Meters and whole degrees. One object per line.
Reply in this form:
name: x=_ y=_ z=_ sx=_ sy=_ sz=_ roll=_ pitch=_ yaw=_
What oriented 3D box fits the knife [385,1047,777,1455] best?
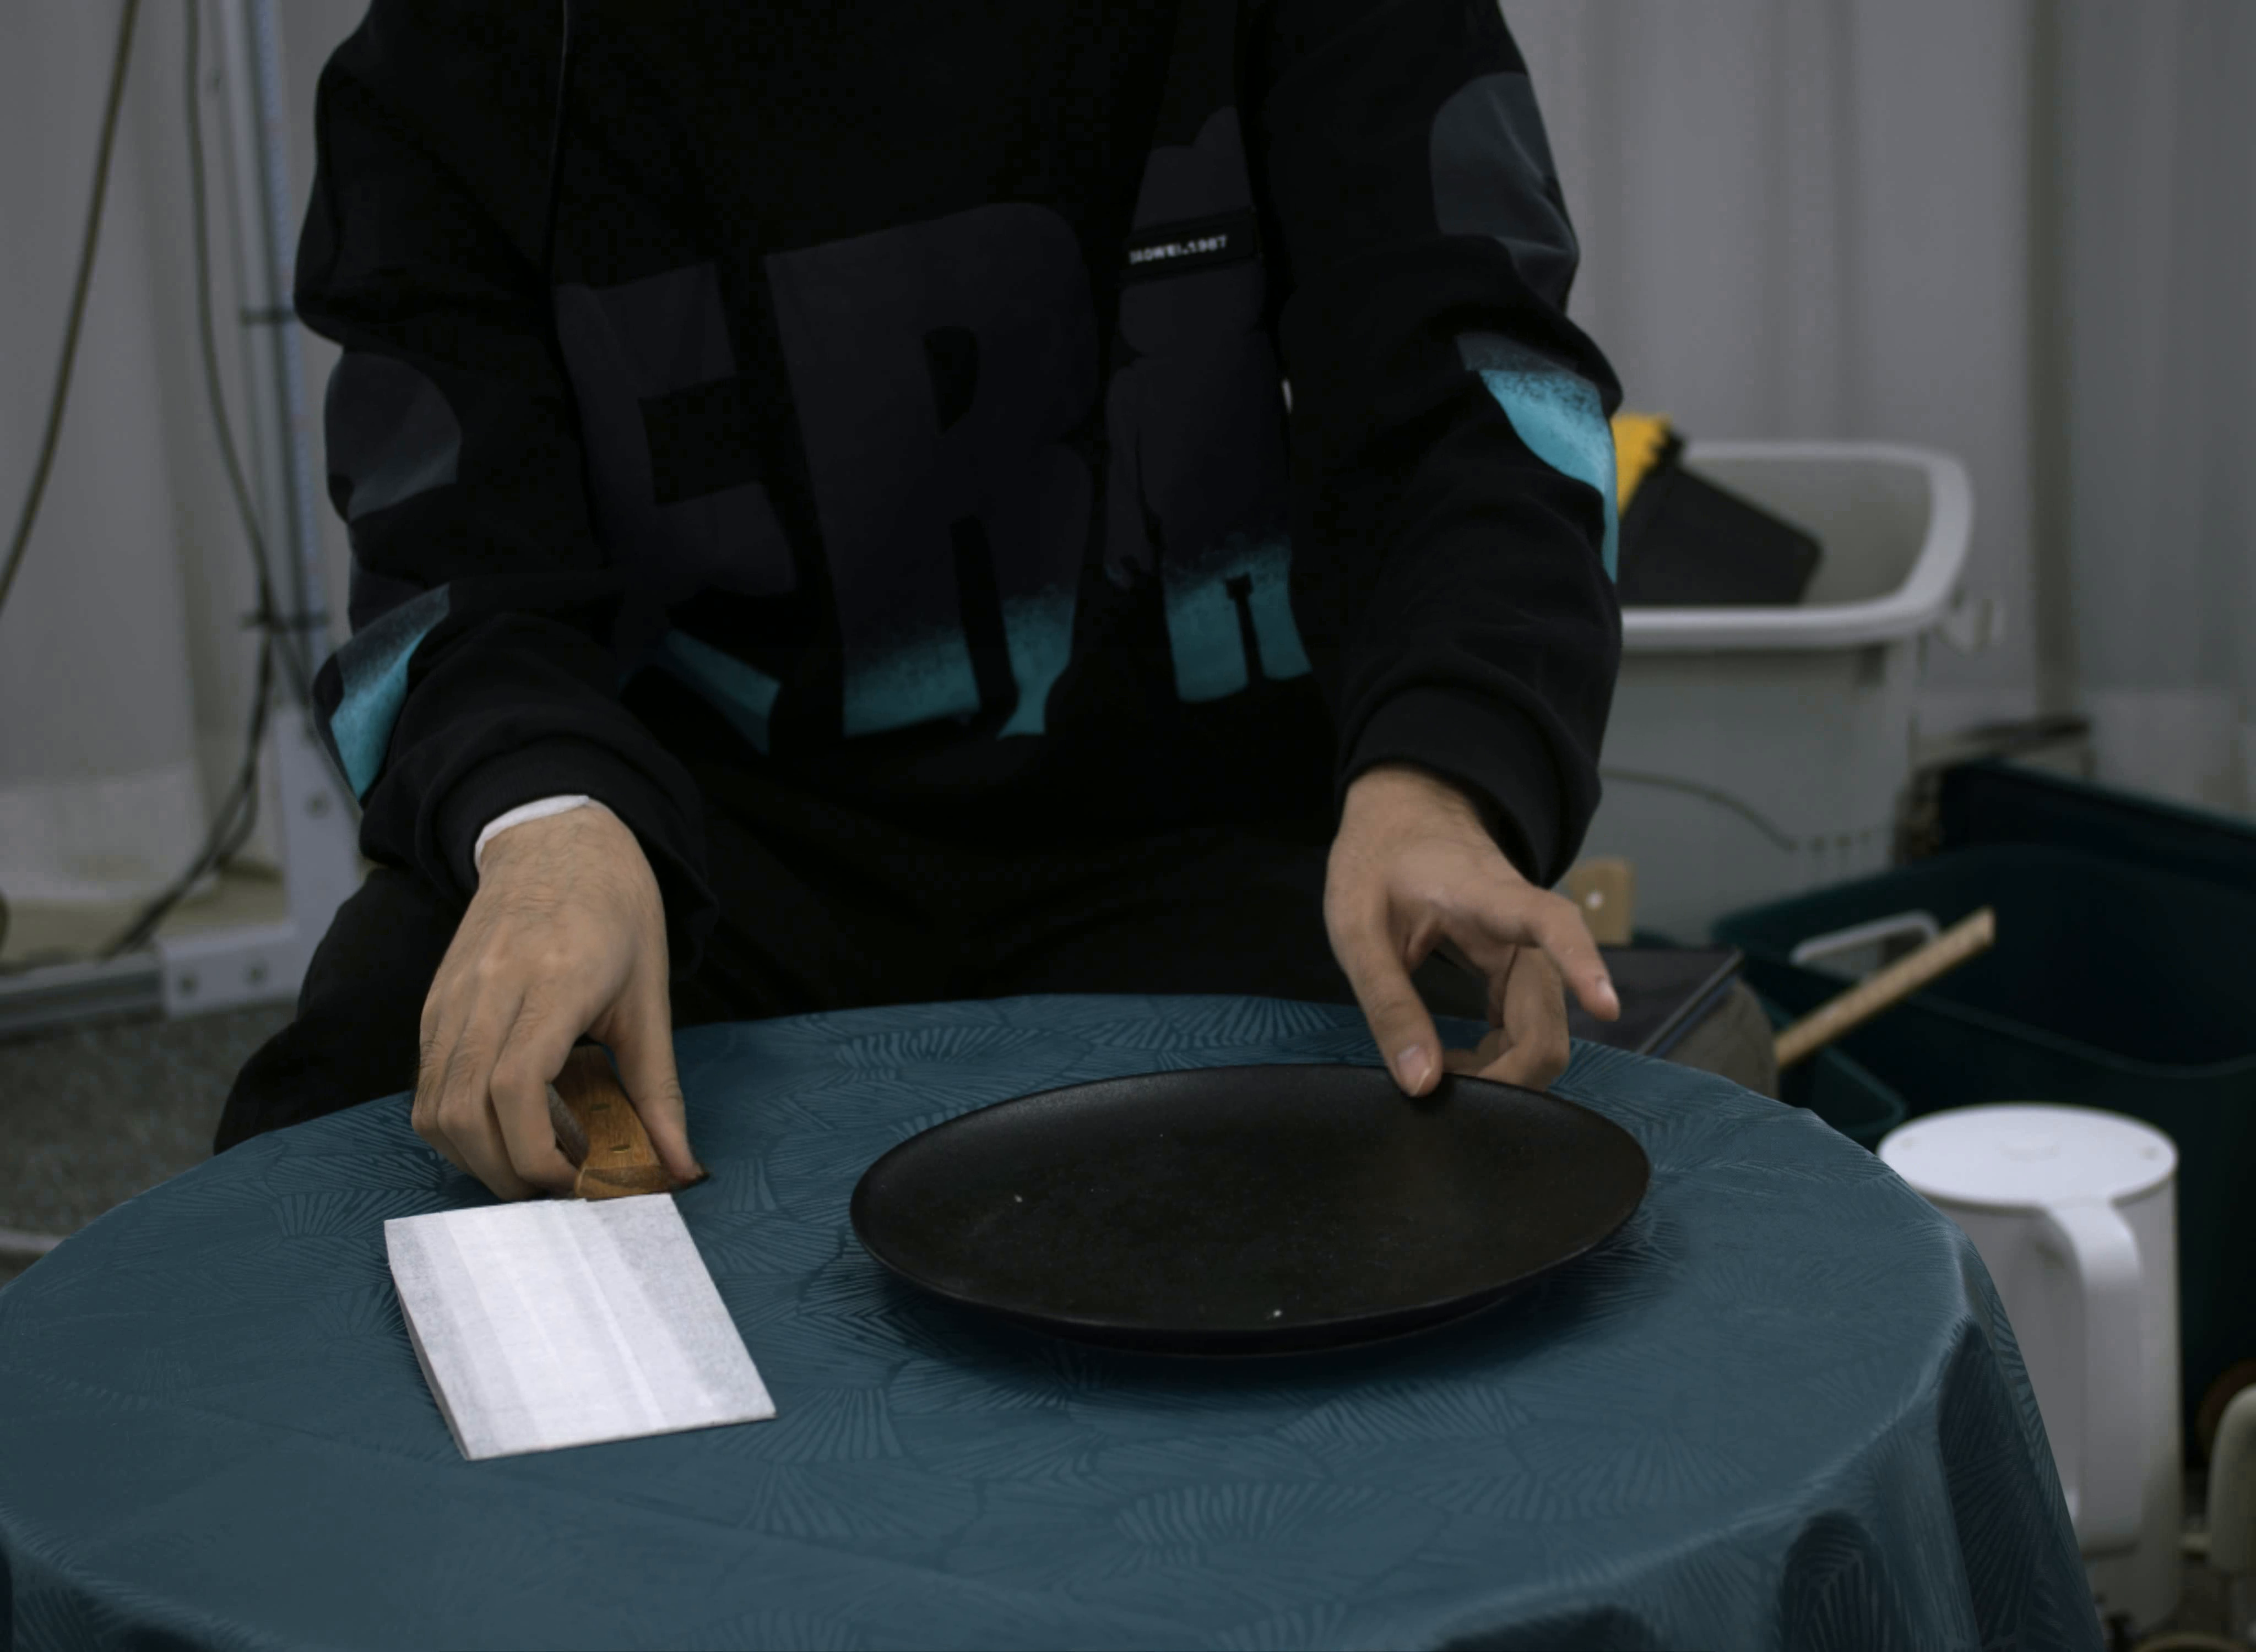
knife: x=-0.177 y=0.128 z=1.670 sx=0.092 sy=0.021 sz=0.308 roll=-8 pitch=18 yaw=-13

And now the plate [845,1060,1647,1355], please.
plate: x=0.036 y=0.118 z=1.651 sx=0.243 sy=0.023 sz=0.246 roll=-3 pitch=15 yaw=1
